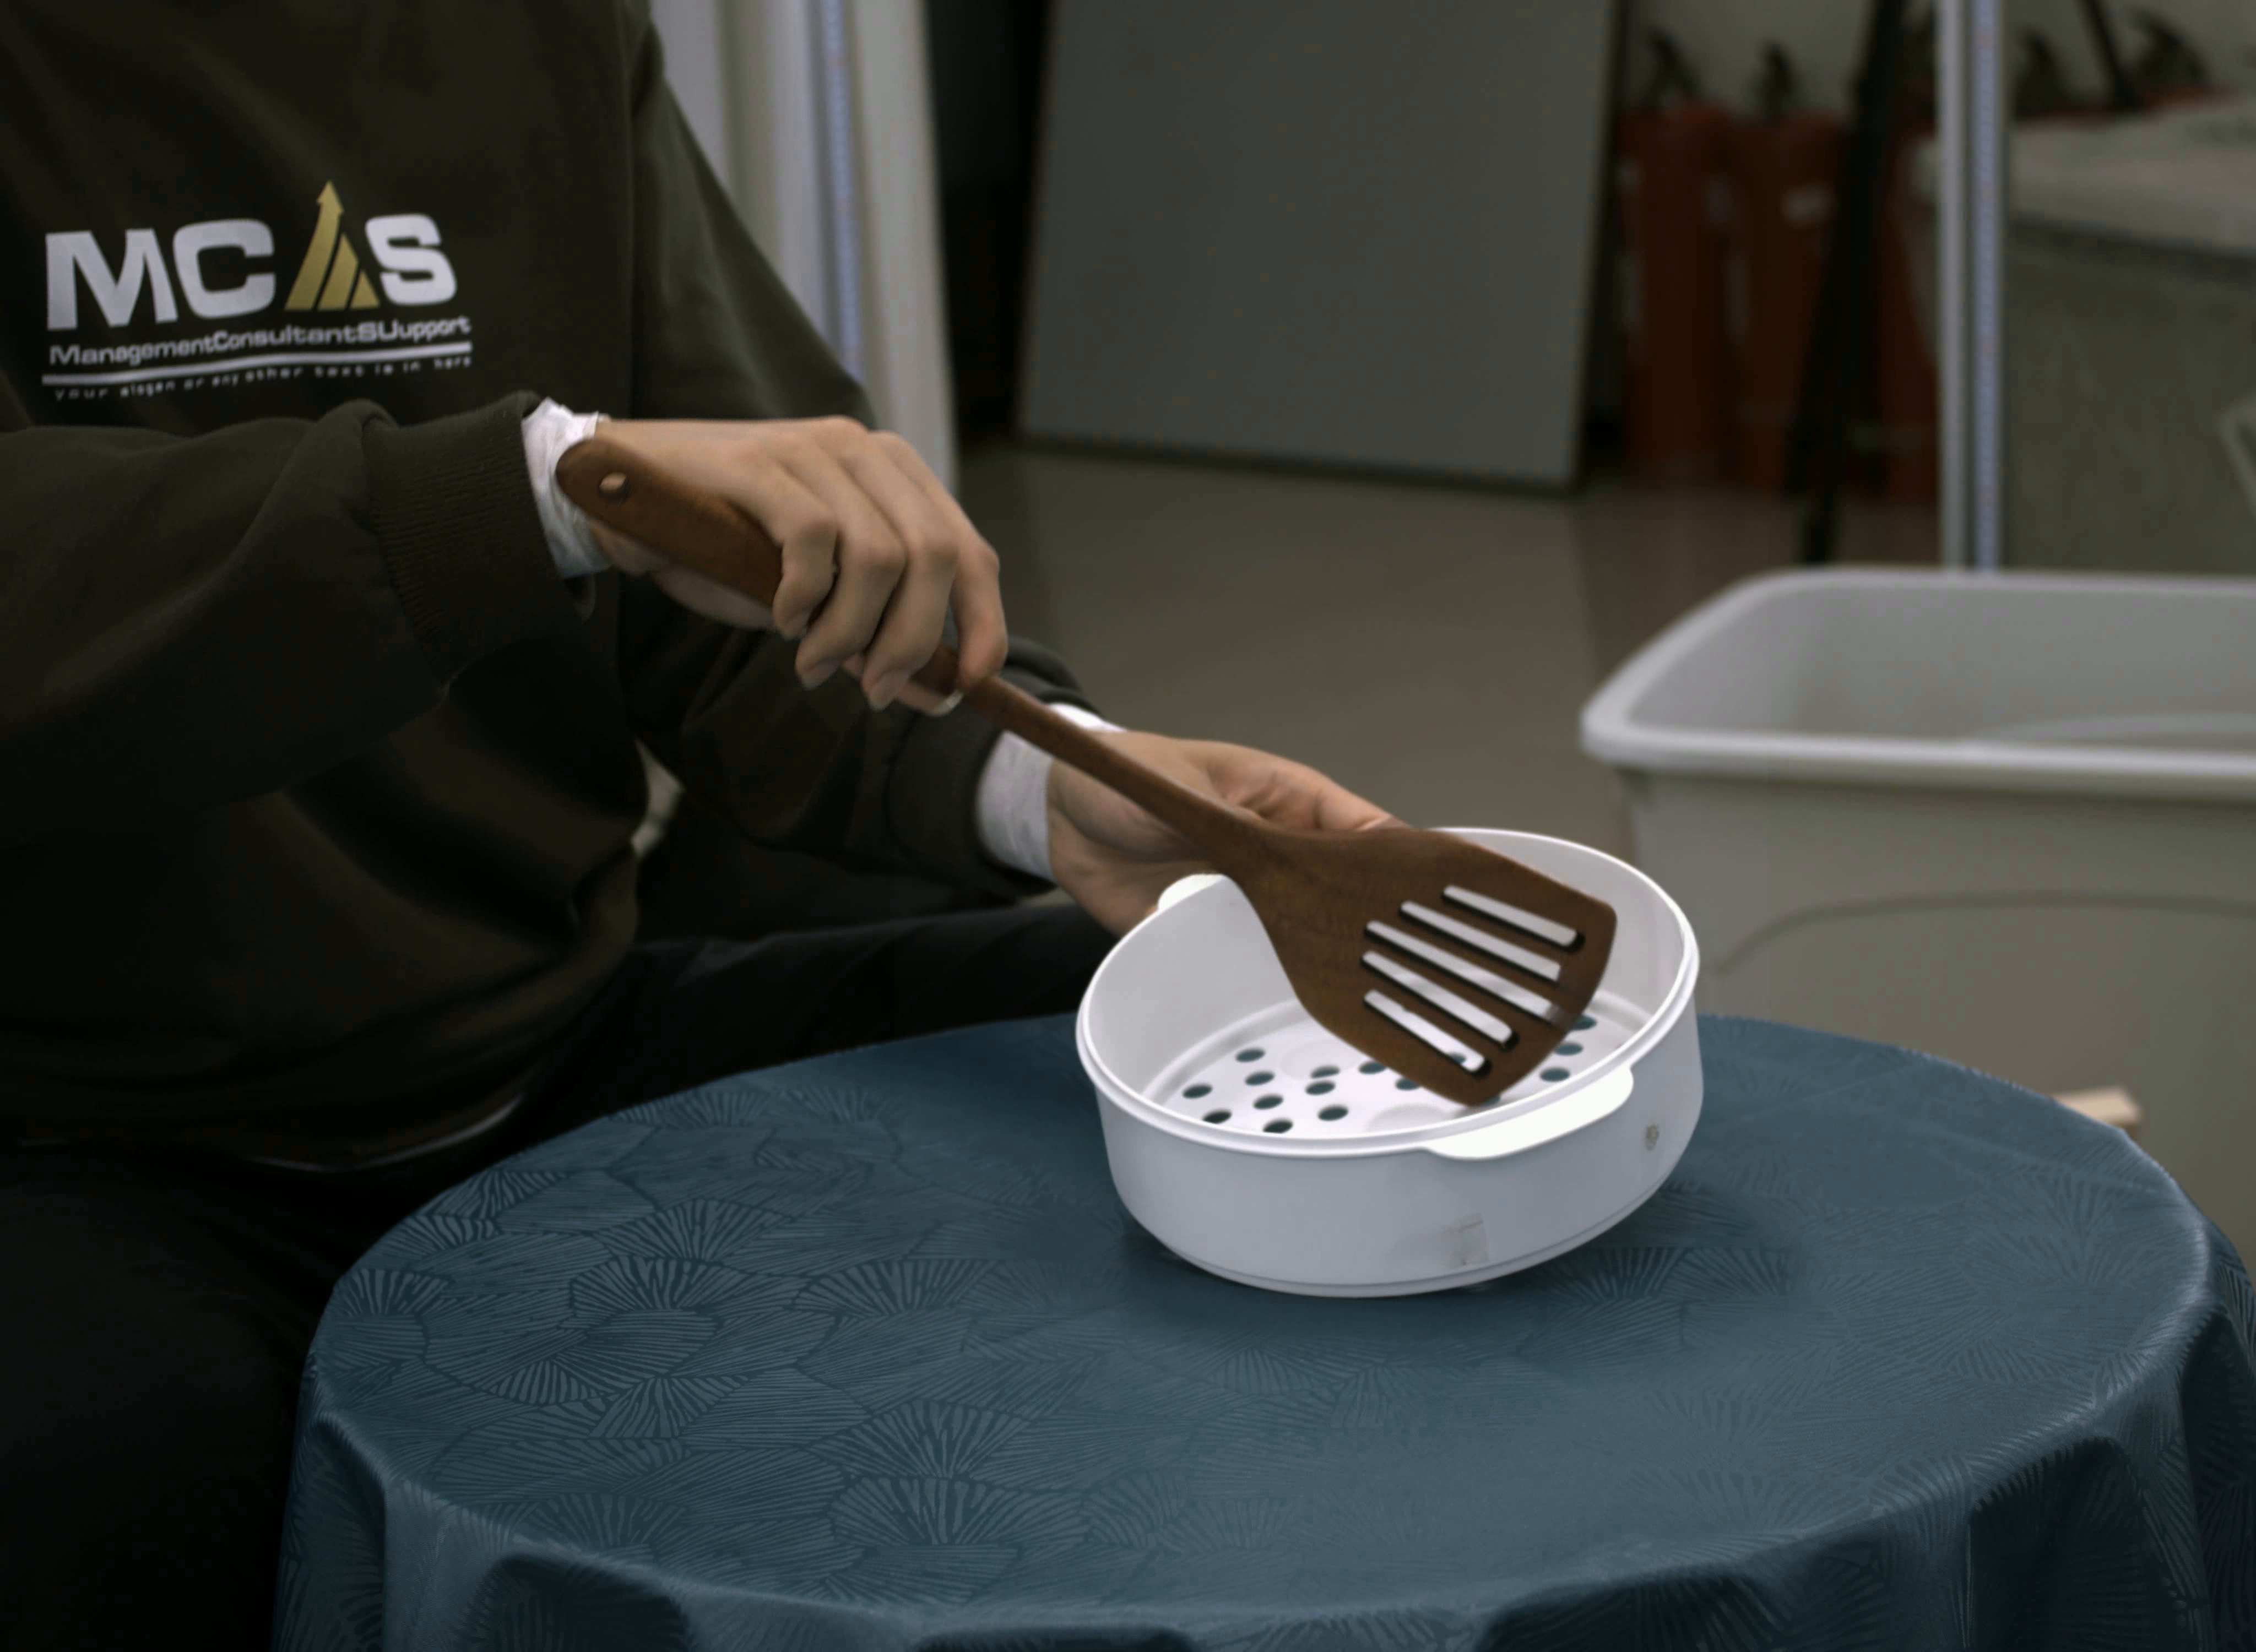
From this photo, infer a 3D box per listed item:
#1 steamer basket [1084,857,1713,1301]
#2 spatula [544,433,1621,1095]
[{"bbox_3d":[0.089,0.081,1.715,0.198,0.070,0.233,-18,24,-18],"label":"steamer basket"},{"bbox_3d":[-0.012,-0.023,1.654,0.379,0.086,0.024,29,17,-19],"label":"spatula"}]
